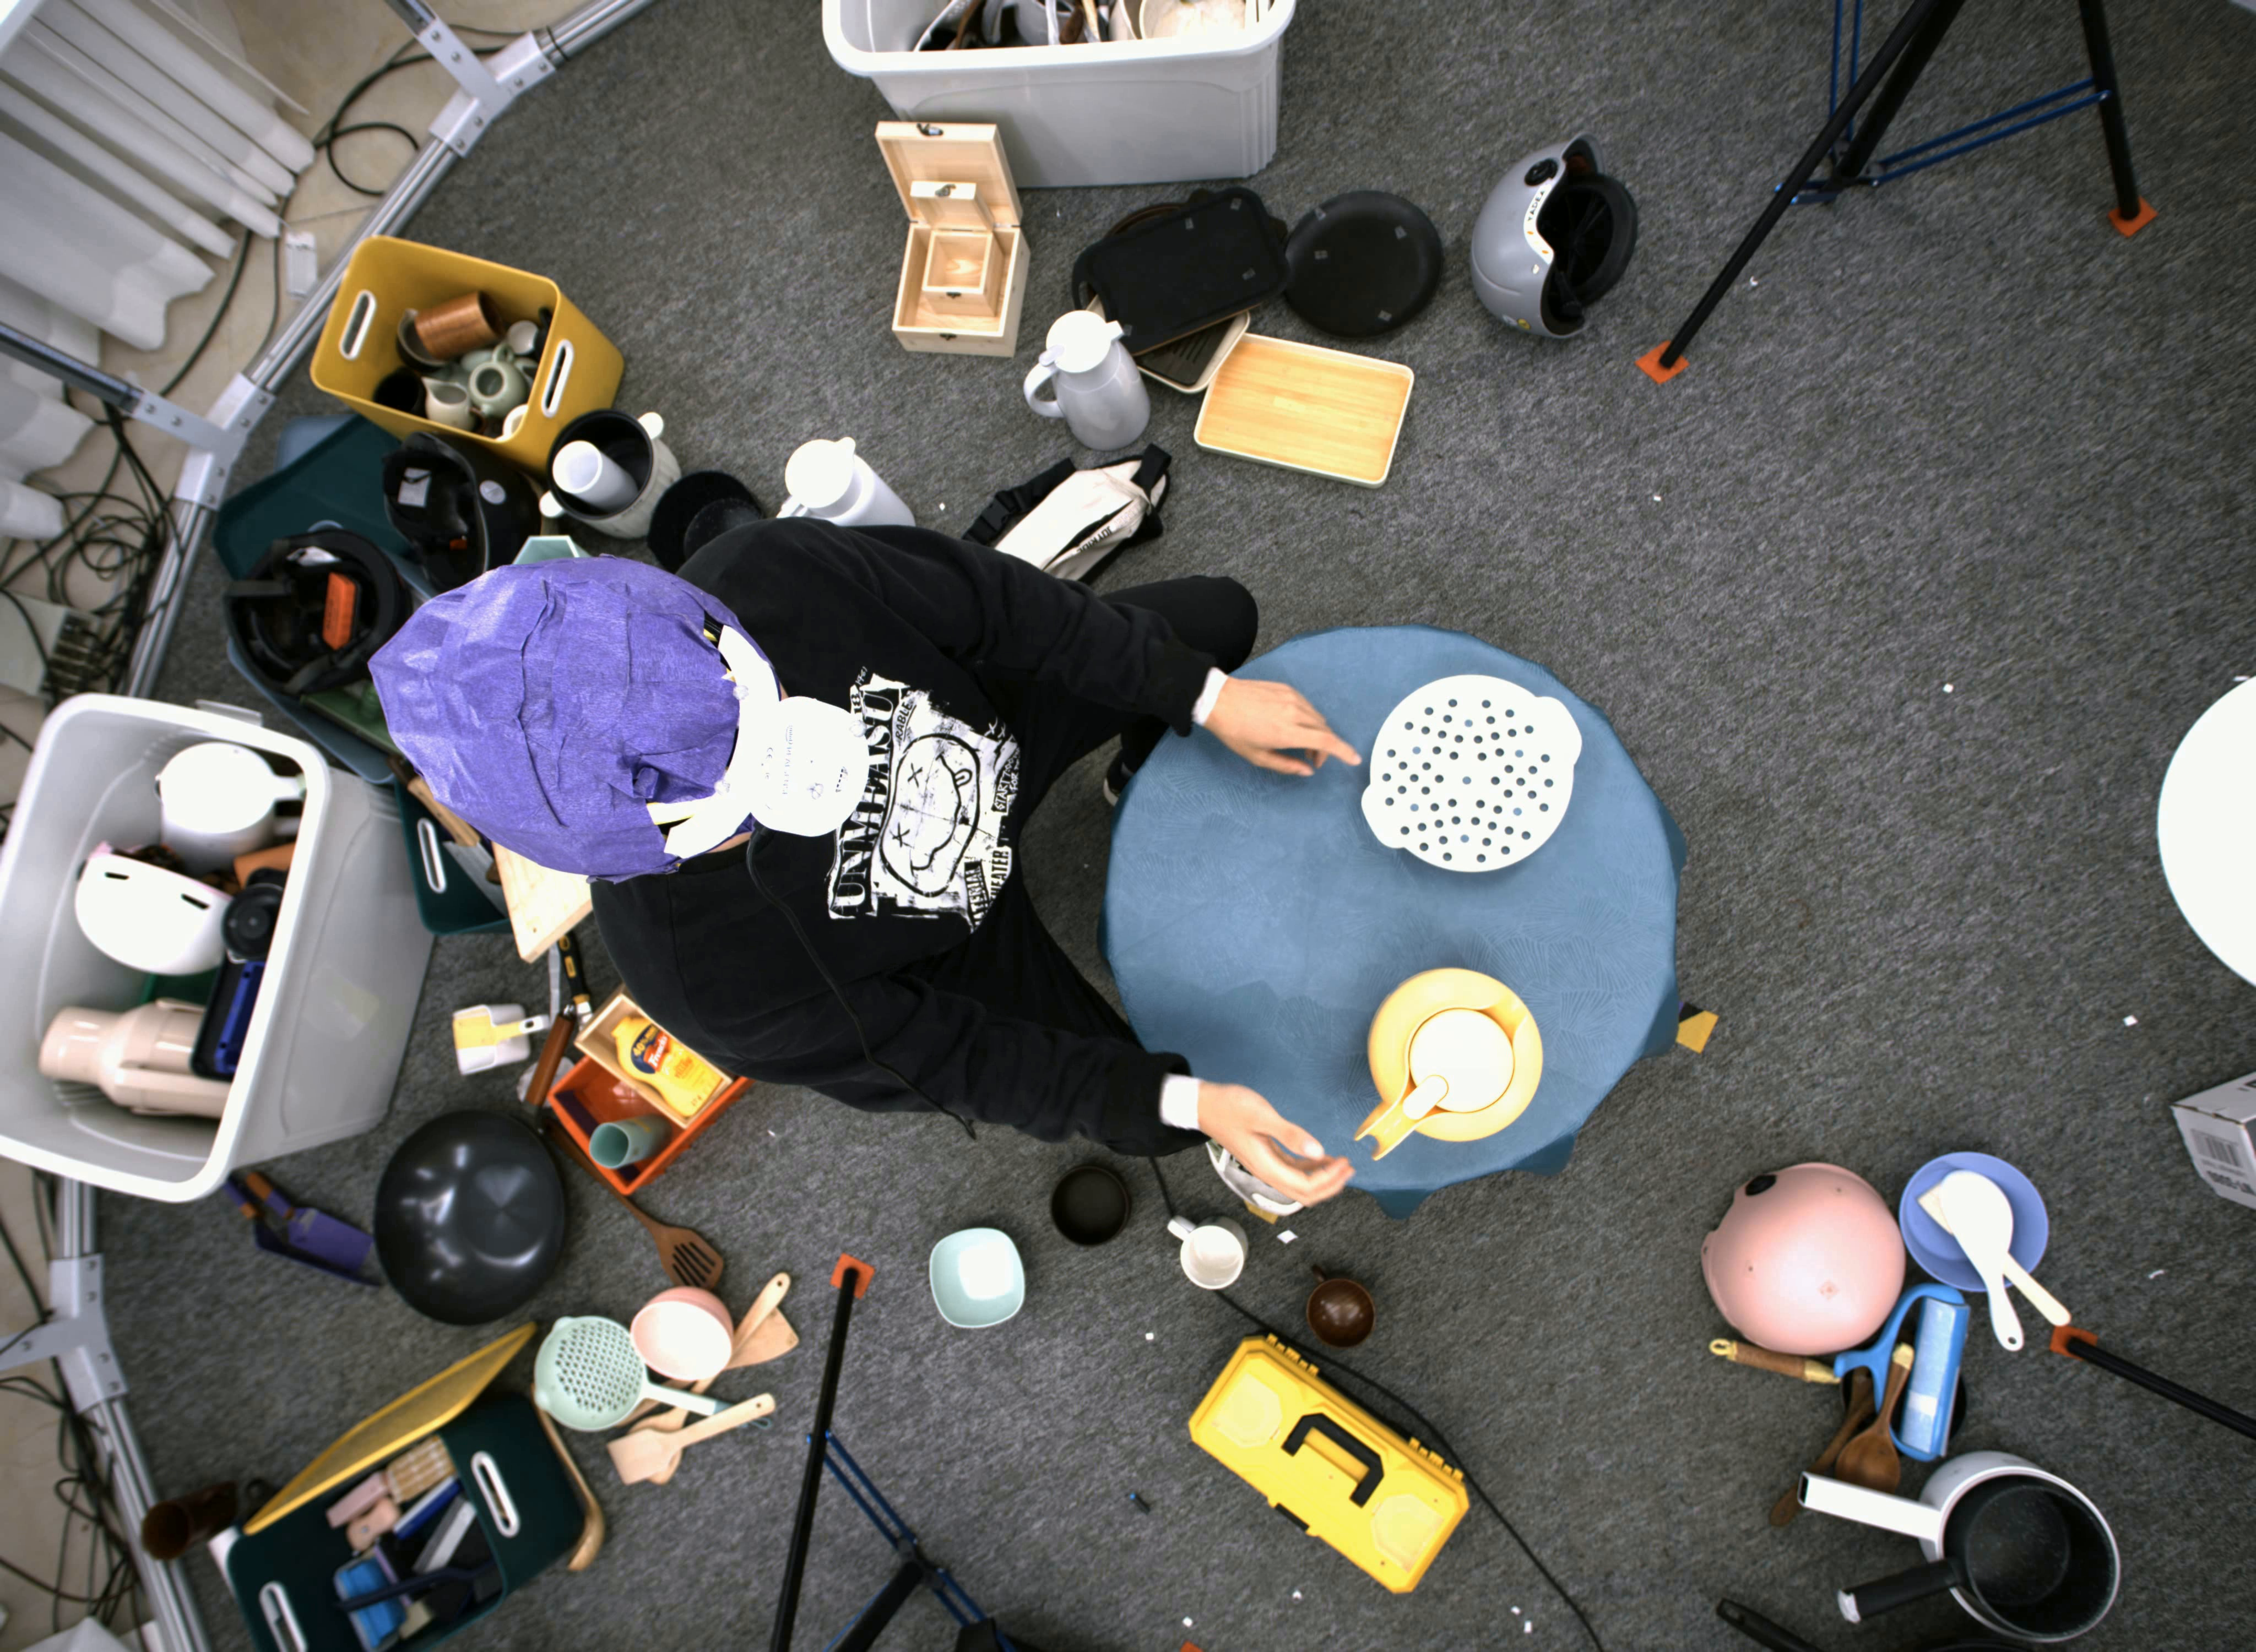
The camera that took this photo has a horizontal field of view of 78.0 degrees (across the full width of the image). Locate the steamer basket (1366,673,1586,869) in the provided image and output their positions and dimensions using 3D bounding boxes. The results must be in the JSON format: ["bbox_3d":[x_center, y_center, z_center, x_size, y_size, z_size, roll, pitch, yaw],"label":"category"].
[{"bbox_3d":[0.357,-0.056,1.419,0.232,0.069,0.201,-28,83,7],"label":"steamer basket"}]

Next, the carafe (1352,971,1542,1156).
[{"bbox_3d":[0.294,0.229,1.315,0.203,0.261,0.162,-42,77,3],"label":"carafe"}]
